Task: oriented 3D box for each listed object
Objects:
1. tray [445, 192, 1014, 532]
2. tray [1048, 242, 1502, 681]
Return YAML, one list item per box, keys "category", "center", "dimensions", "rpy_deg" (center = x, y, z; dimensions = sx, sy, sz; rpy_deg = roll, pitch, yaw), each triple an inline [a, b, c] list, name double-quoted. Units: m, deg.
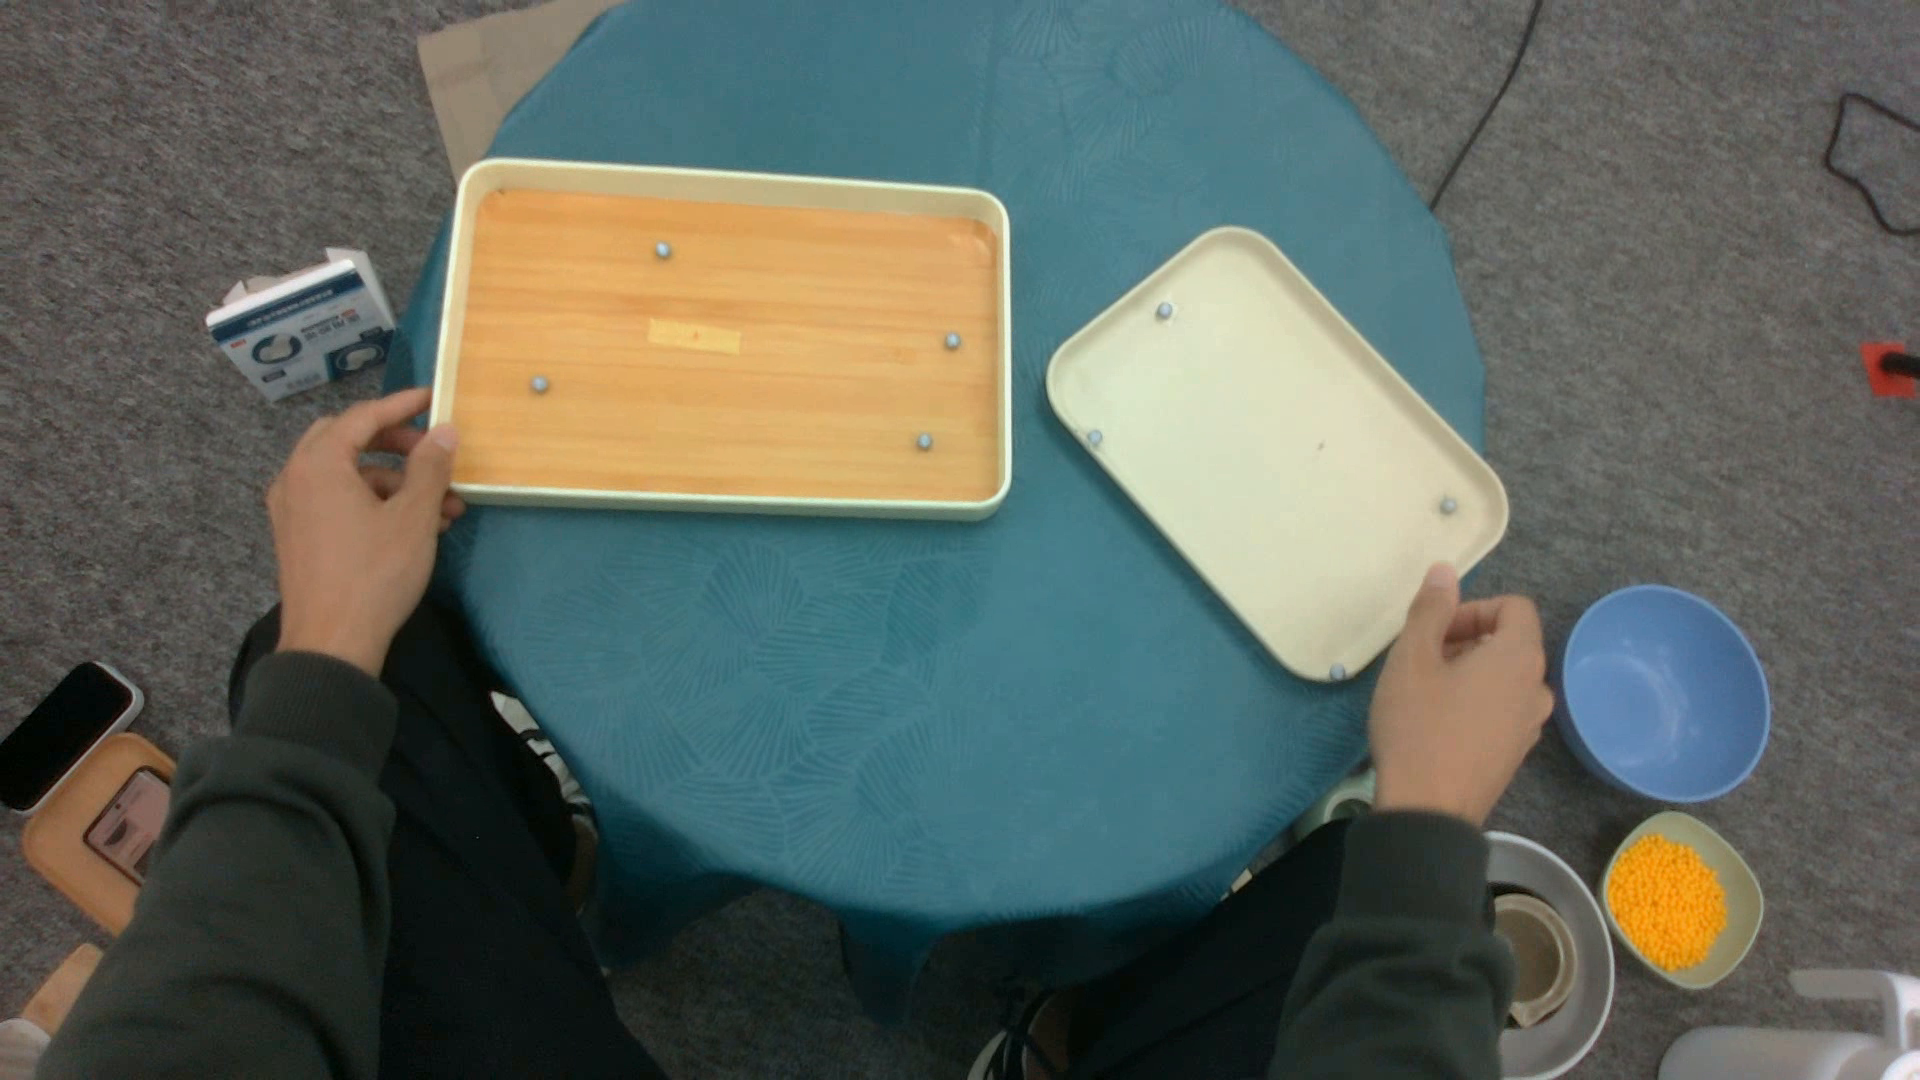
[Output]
- category: "tray"
  center: [-0.121, -0.099, 0.765]
  dimensions: [0.300, 0.027, 0.192]
  rpy_deg: [1, 72, -5]
- category: "tray"
  center: [0.177, -0.049, 0.782]
  dimensions: [0.172, 0.017, 0.240]
  rpy_deg: [-39, 79, -16]
